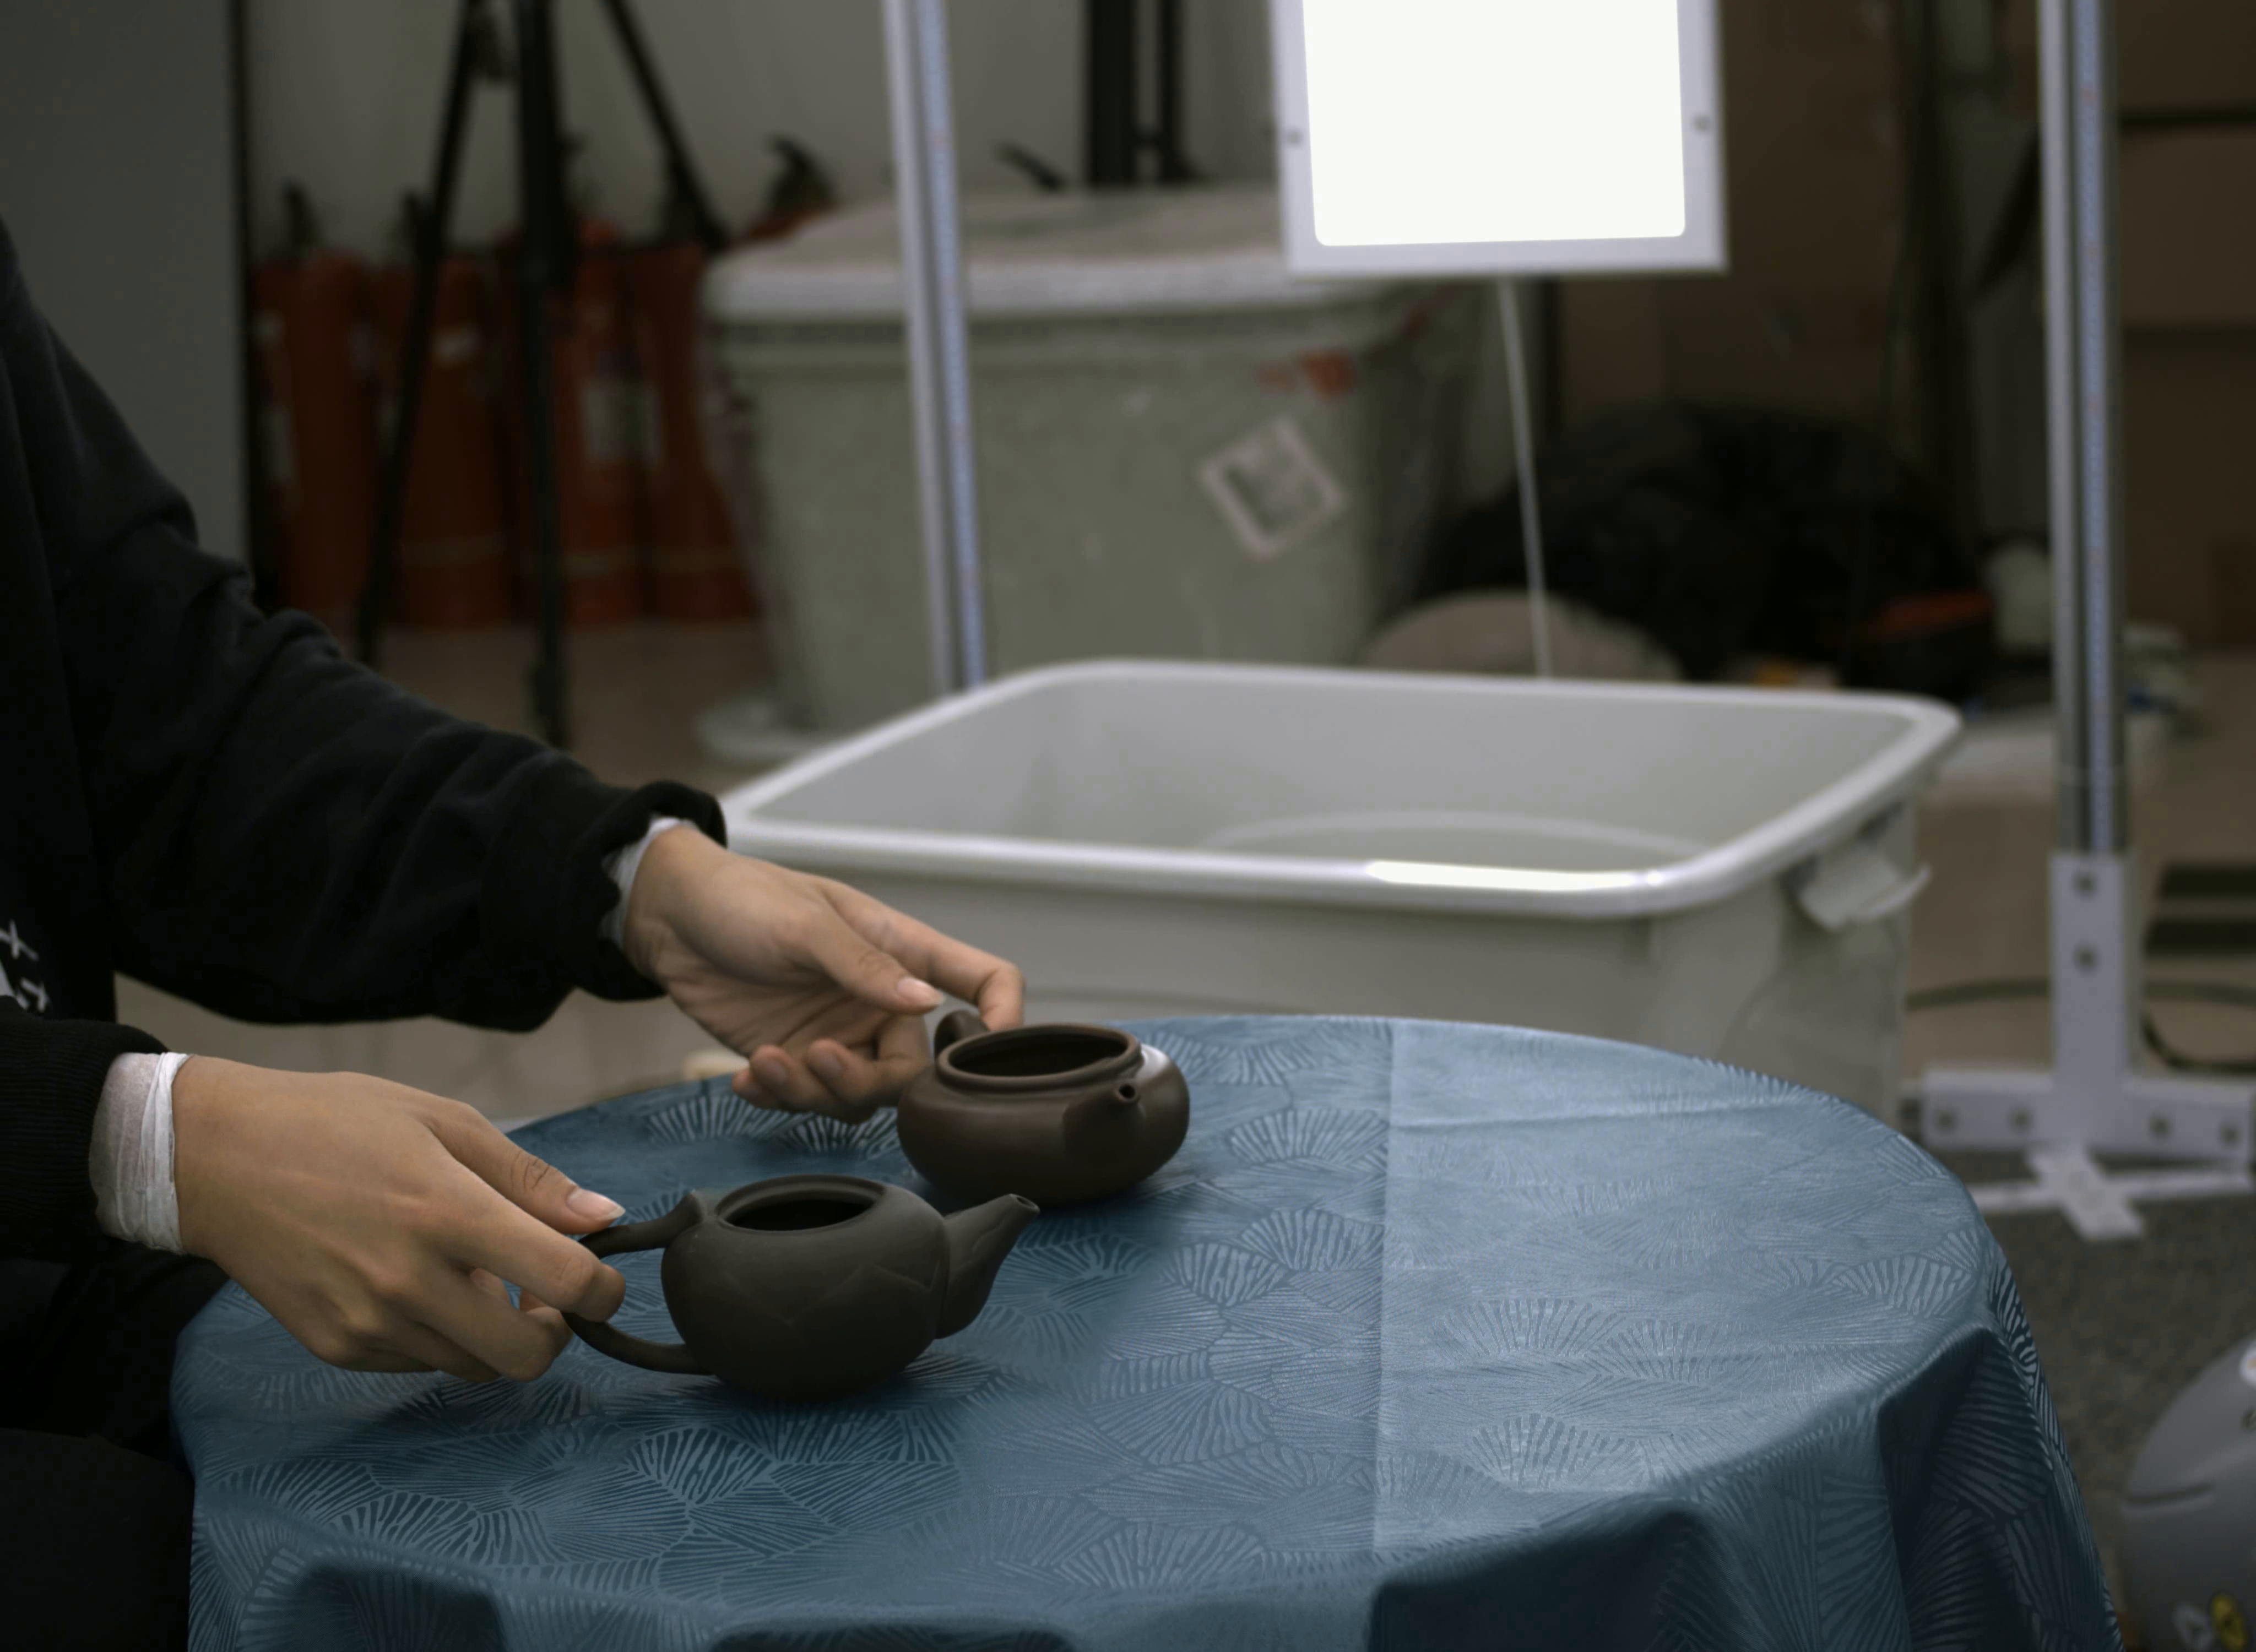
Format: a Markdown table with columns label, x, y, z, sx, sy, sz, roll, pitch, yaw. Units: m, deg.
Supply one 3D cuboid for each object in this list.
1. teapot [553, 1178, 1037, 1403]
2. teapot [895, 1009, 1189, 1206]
| label | x | y | z | sx | sy | sz | roll | pitch | yaw |
| --- | --- | --- | --- | --- | --- | --- | --- | --- | --- |
| teapot | -0.104 | 0.144 | 1.734 | 0.154 | 0.064 | 0.092 | -4 | 12 | 1 |
| teapot | -0.032 | 0.097 | 1.915 | 0.100 | 0.054 | 0.156 | -11 | 15 | -29 |
